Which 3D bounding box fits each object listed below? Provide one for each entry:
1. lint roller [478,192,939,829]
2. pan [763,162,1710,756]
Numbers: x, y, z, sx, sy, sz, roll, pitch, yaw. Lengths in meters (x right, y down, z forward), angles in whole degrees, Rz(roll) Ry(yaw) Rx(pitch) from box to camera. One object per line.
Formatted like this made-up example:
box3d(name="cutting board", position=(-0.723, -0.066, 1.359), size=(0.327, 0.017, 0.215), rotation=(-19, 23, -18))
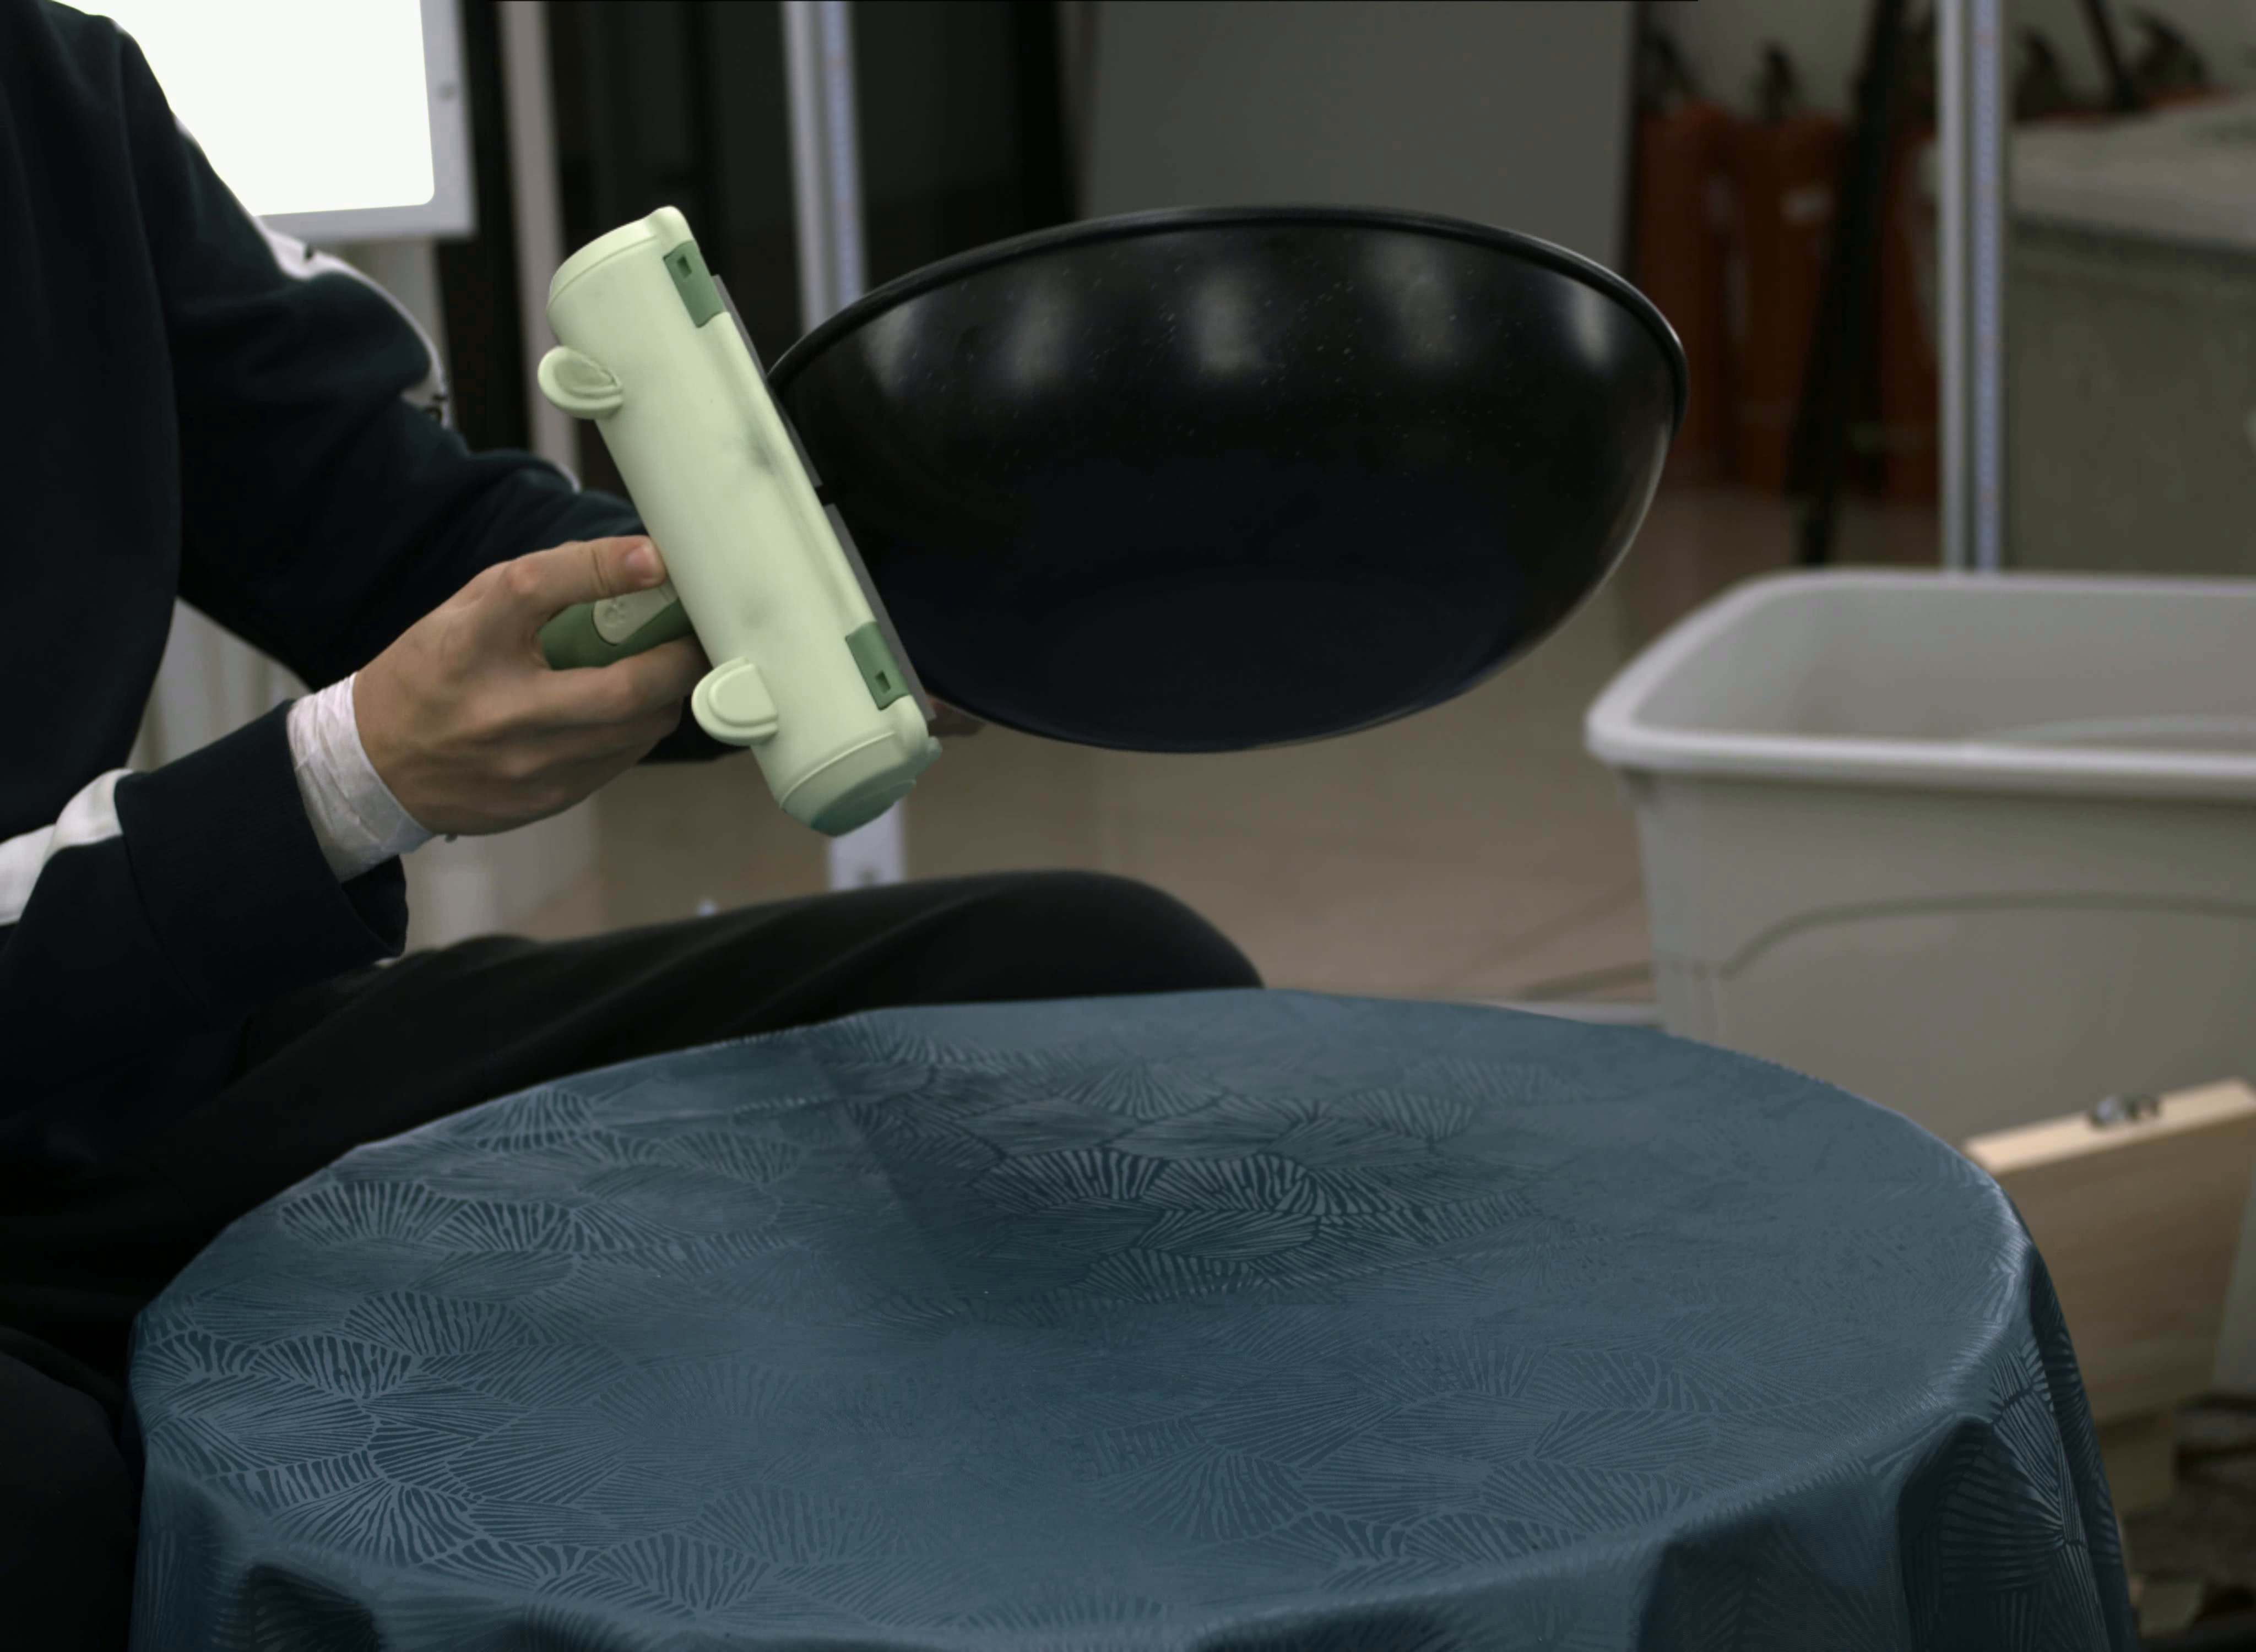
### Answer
box3d(name="lint roller", position=(-0.162, -0.068, 1.696), size=(0.185, 0.201, 0.080), rotation=(-35, -16, 33))
box3d(name="pan", position=(-0.004, -0.076, 1.795), size=(0.303, 0.113, 0.481), rotation=(10, -26, -26))
